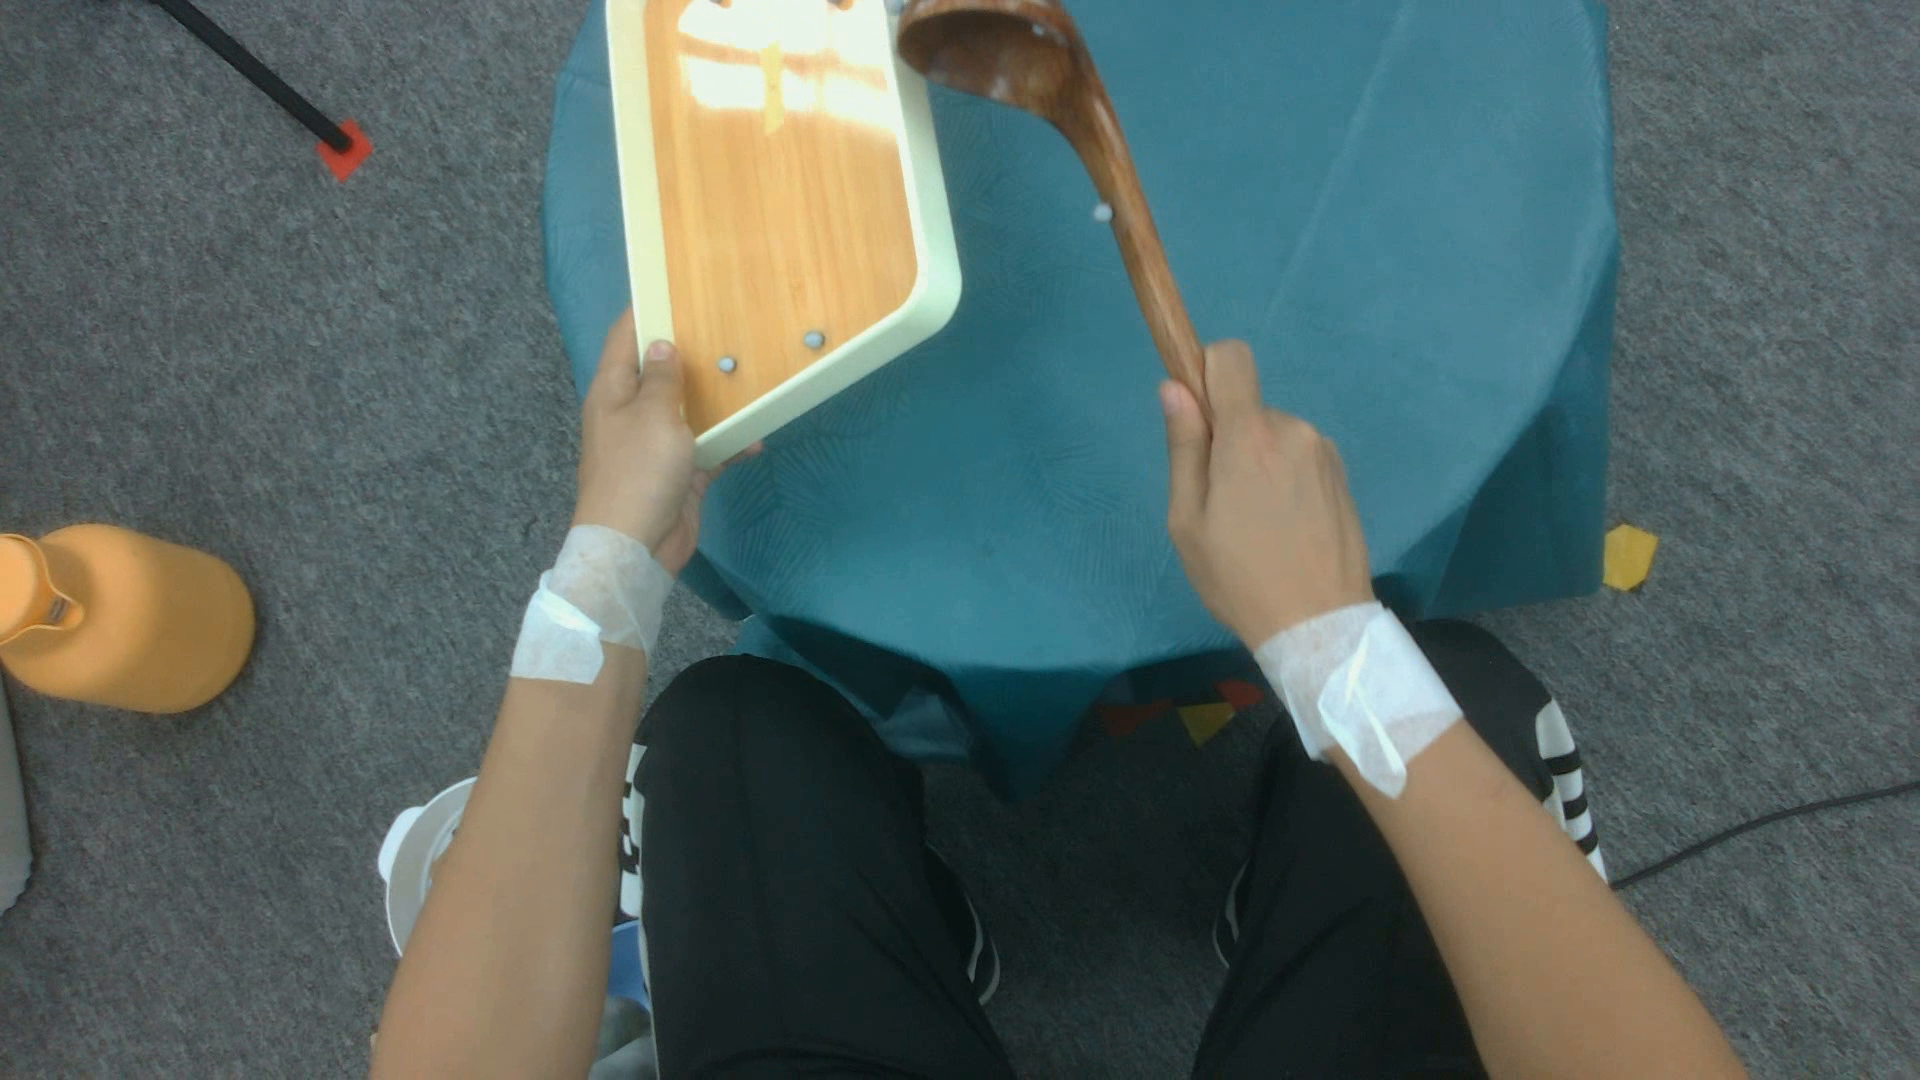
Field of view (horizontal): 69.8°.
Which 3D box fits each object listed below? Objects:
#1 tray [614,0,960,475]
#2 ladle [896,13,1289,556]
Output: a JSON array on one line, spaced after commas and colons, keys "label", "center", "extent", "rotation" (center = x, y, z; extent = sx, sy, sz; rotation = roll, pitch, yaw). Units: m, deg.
[{"label": "tray", "center": [-0.097, -0.199, 0.687], "extent": [0.191, 0.027, 0.301], "rotation": [-25, 65, 36]}, {"label": "ladle", "center": [0.059, -0.102, 0.604], "extent": [0.077, 0.082, 0.274], "rotation": [-27, 97, -11]}]
